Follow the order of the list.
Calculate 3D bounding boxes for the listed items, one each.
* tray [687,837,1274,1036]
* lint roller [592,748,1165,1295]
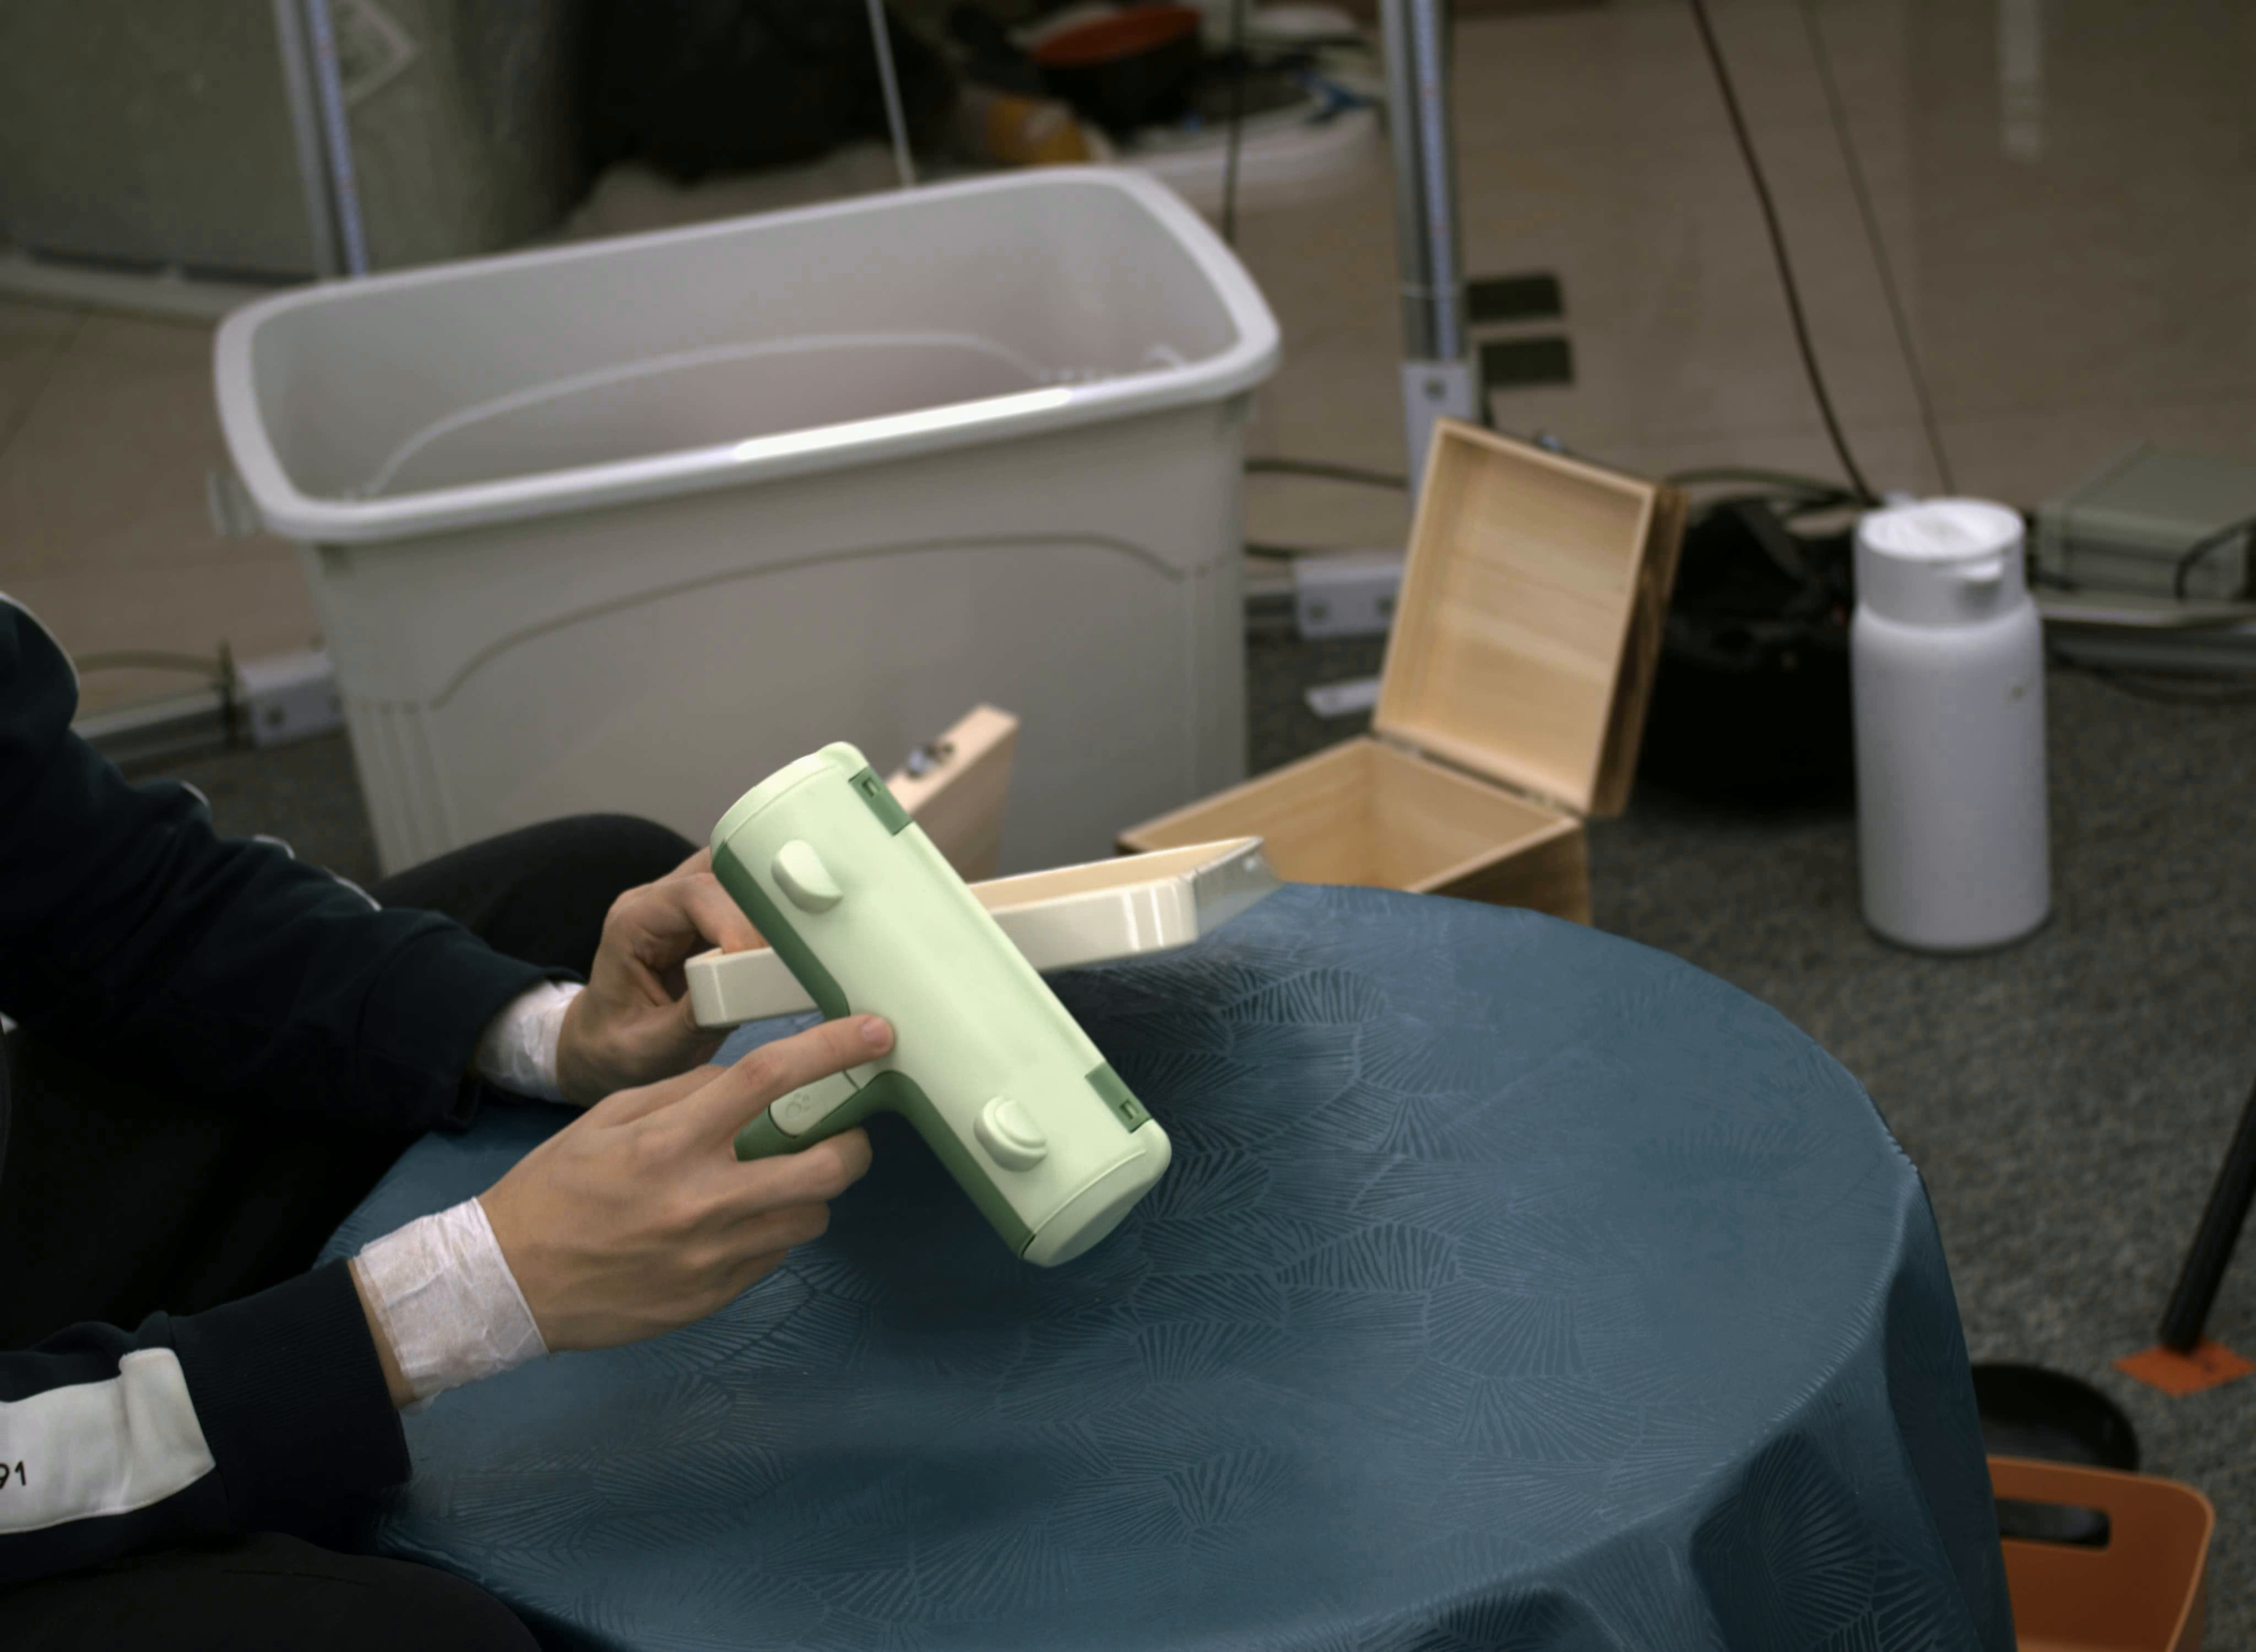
[{"bbox_3d":[-0.051,0.041,2.190,0.191,0.027,0.299,-10,2,8],"label":"tray"},{"bbox_3d":[-0.115,0.097,1.964,0.183,0.197,0.083,-38,-11,-6],"label":"lint roller"}]
